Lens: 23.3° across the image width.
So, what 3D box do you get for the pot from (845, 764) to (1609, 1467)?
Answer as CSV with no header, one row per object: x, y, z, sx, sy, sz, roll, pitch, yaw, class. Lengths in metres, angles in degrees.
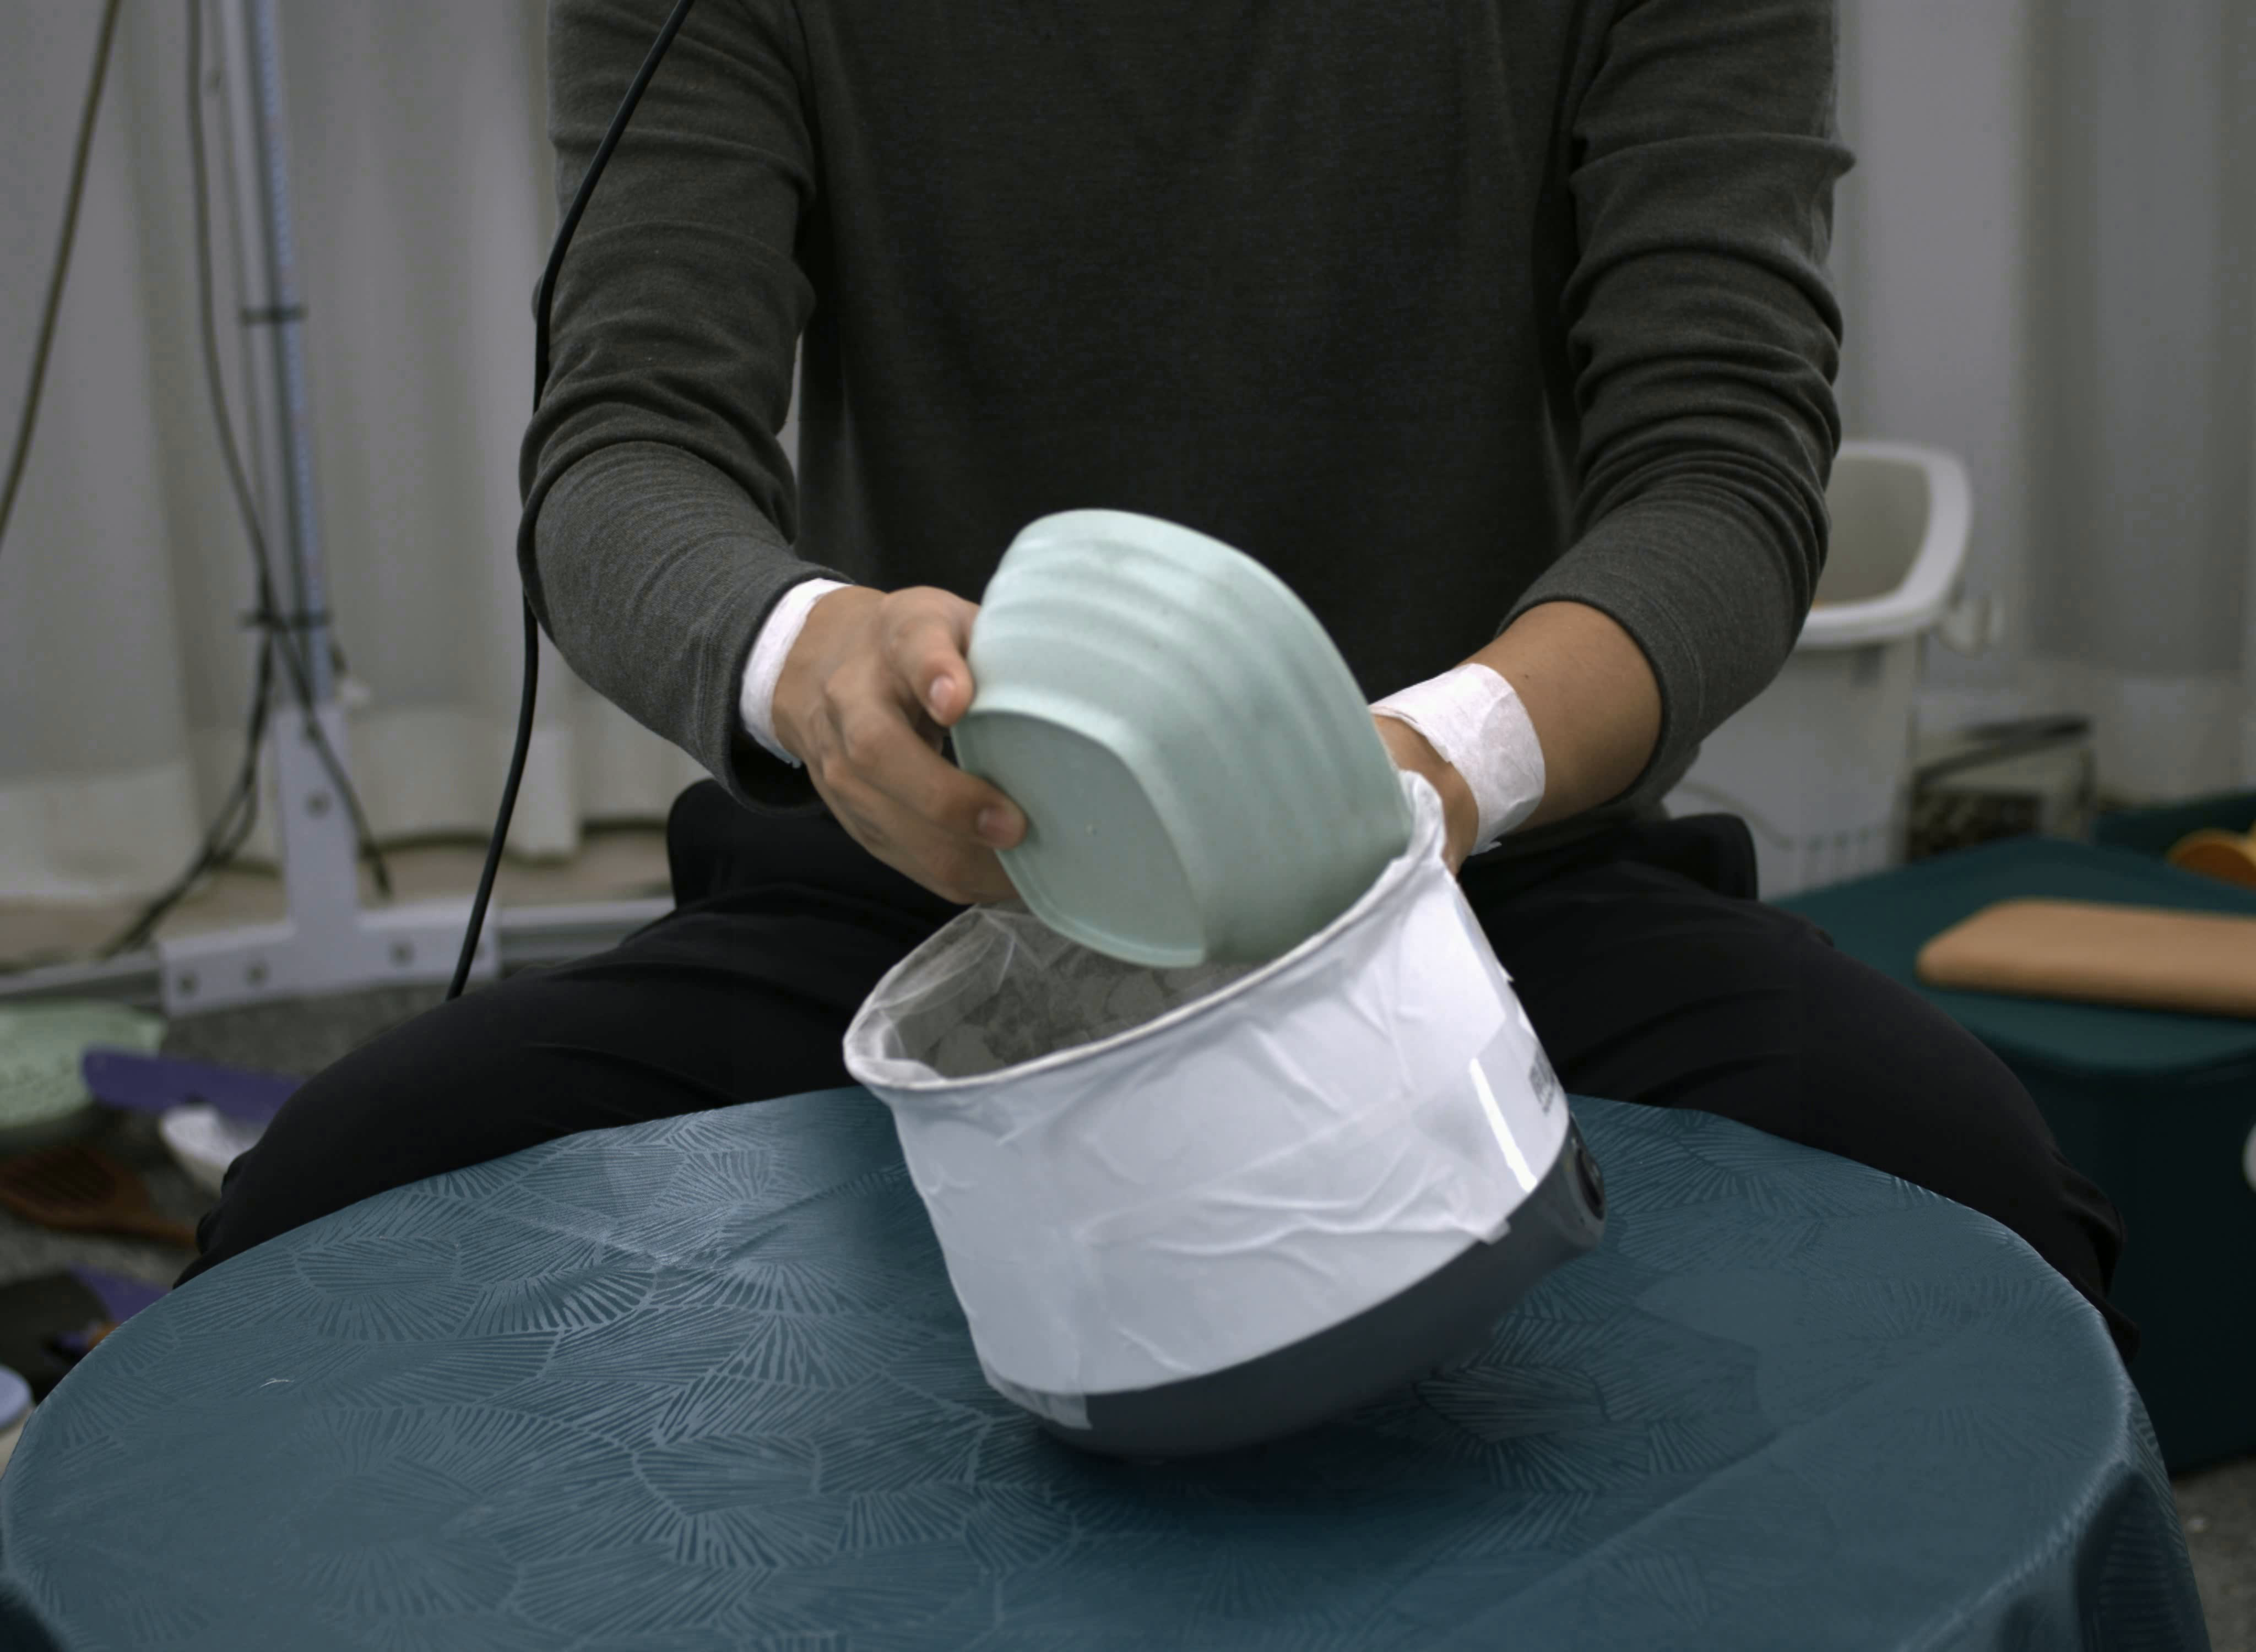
0.031,0.071,1.529,0.178,0.136,0.235,-20,16,14,pot

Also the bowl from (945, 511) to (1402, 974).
0.004,-0.012,1.485,0.059,0.150,0.152,-38,32,-28,bowl
